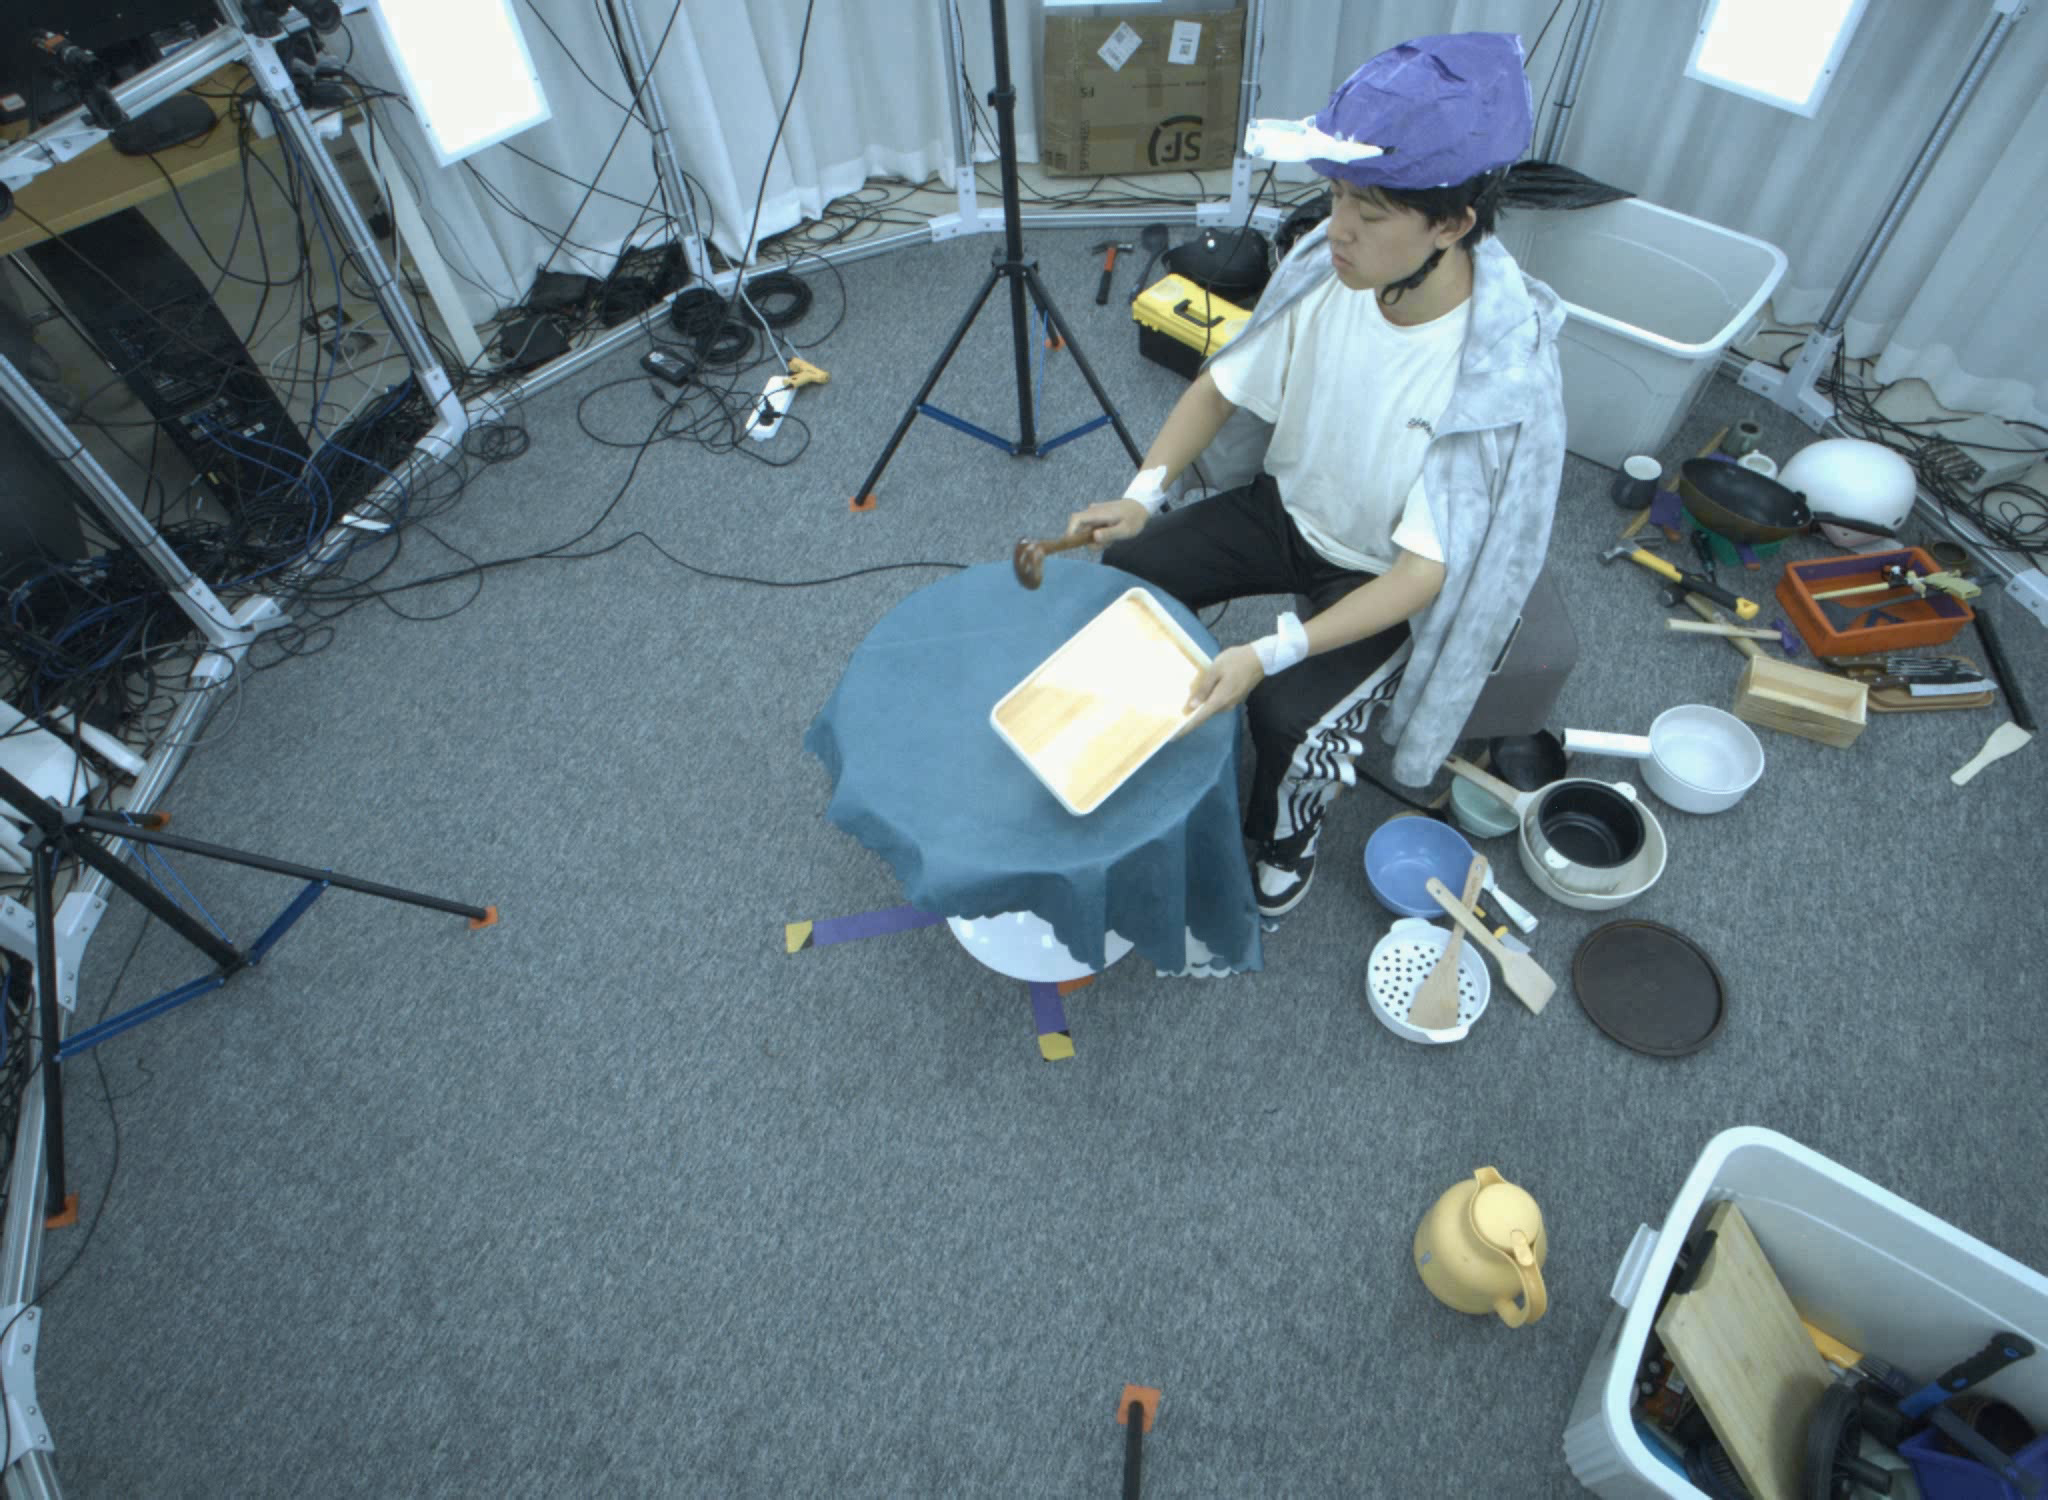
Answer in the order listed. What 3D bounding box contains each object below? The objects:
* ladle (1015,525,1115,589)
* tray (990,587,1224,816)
[{"bbox_3d":[0.077,-0.293,1.781,0.075,0.082,0.278,29,31,29],"label":"ladle"},{"bbox_3d":[0.117,-0.069,1.691,0.302,0.027,0.192,-42,91,-19],"label":"tray"}]
